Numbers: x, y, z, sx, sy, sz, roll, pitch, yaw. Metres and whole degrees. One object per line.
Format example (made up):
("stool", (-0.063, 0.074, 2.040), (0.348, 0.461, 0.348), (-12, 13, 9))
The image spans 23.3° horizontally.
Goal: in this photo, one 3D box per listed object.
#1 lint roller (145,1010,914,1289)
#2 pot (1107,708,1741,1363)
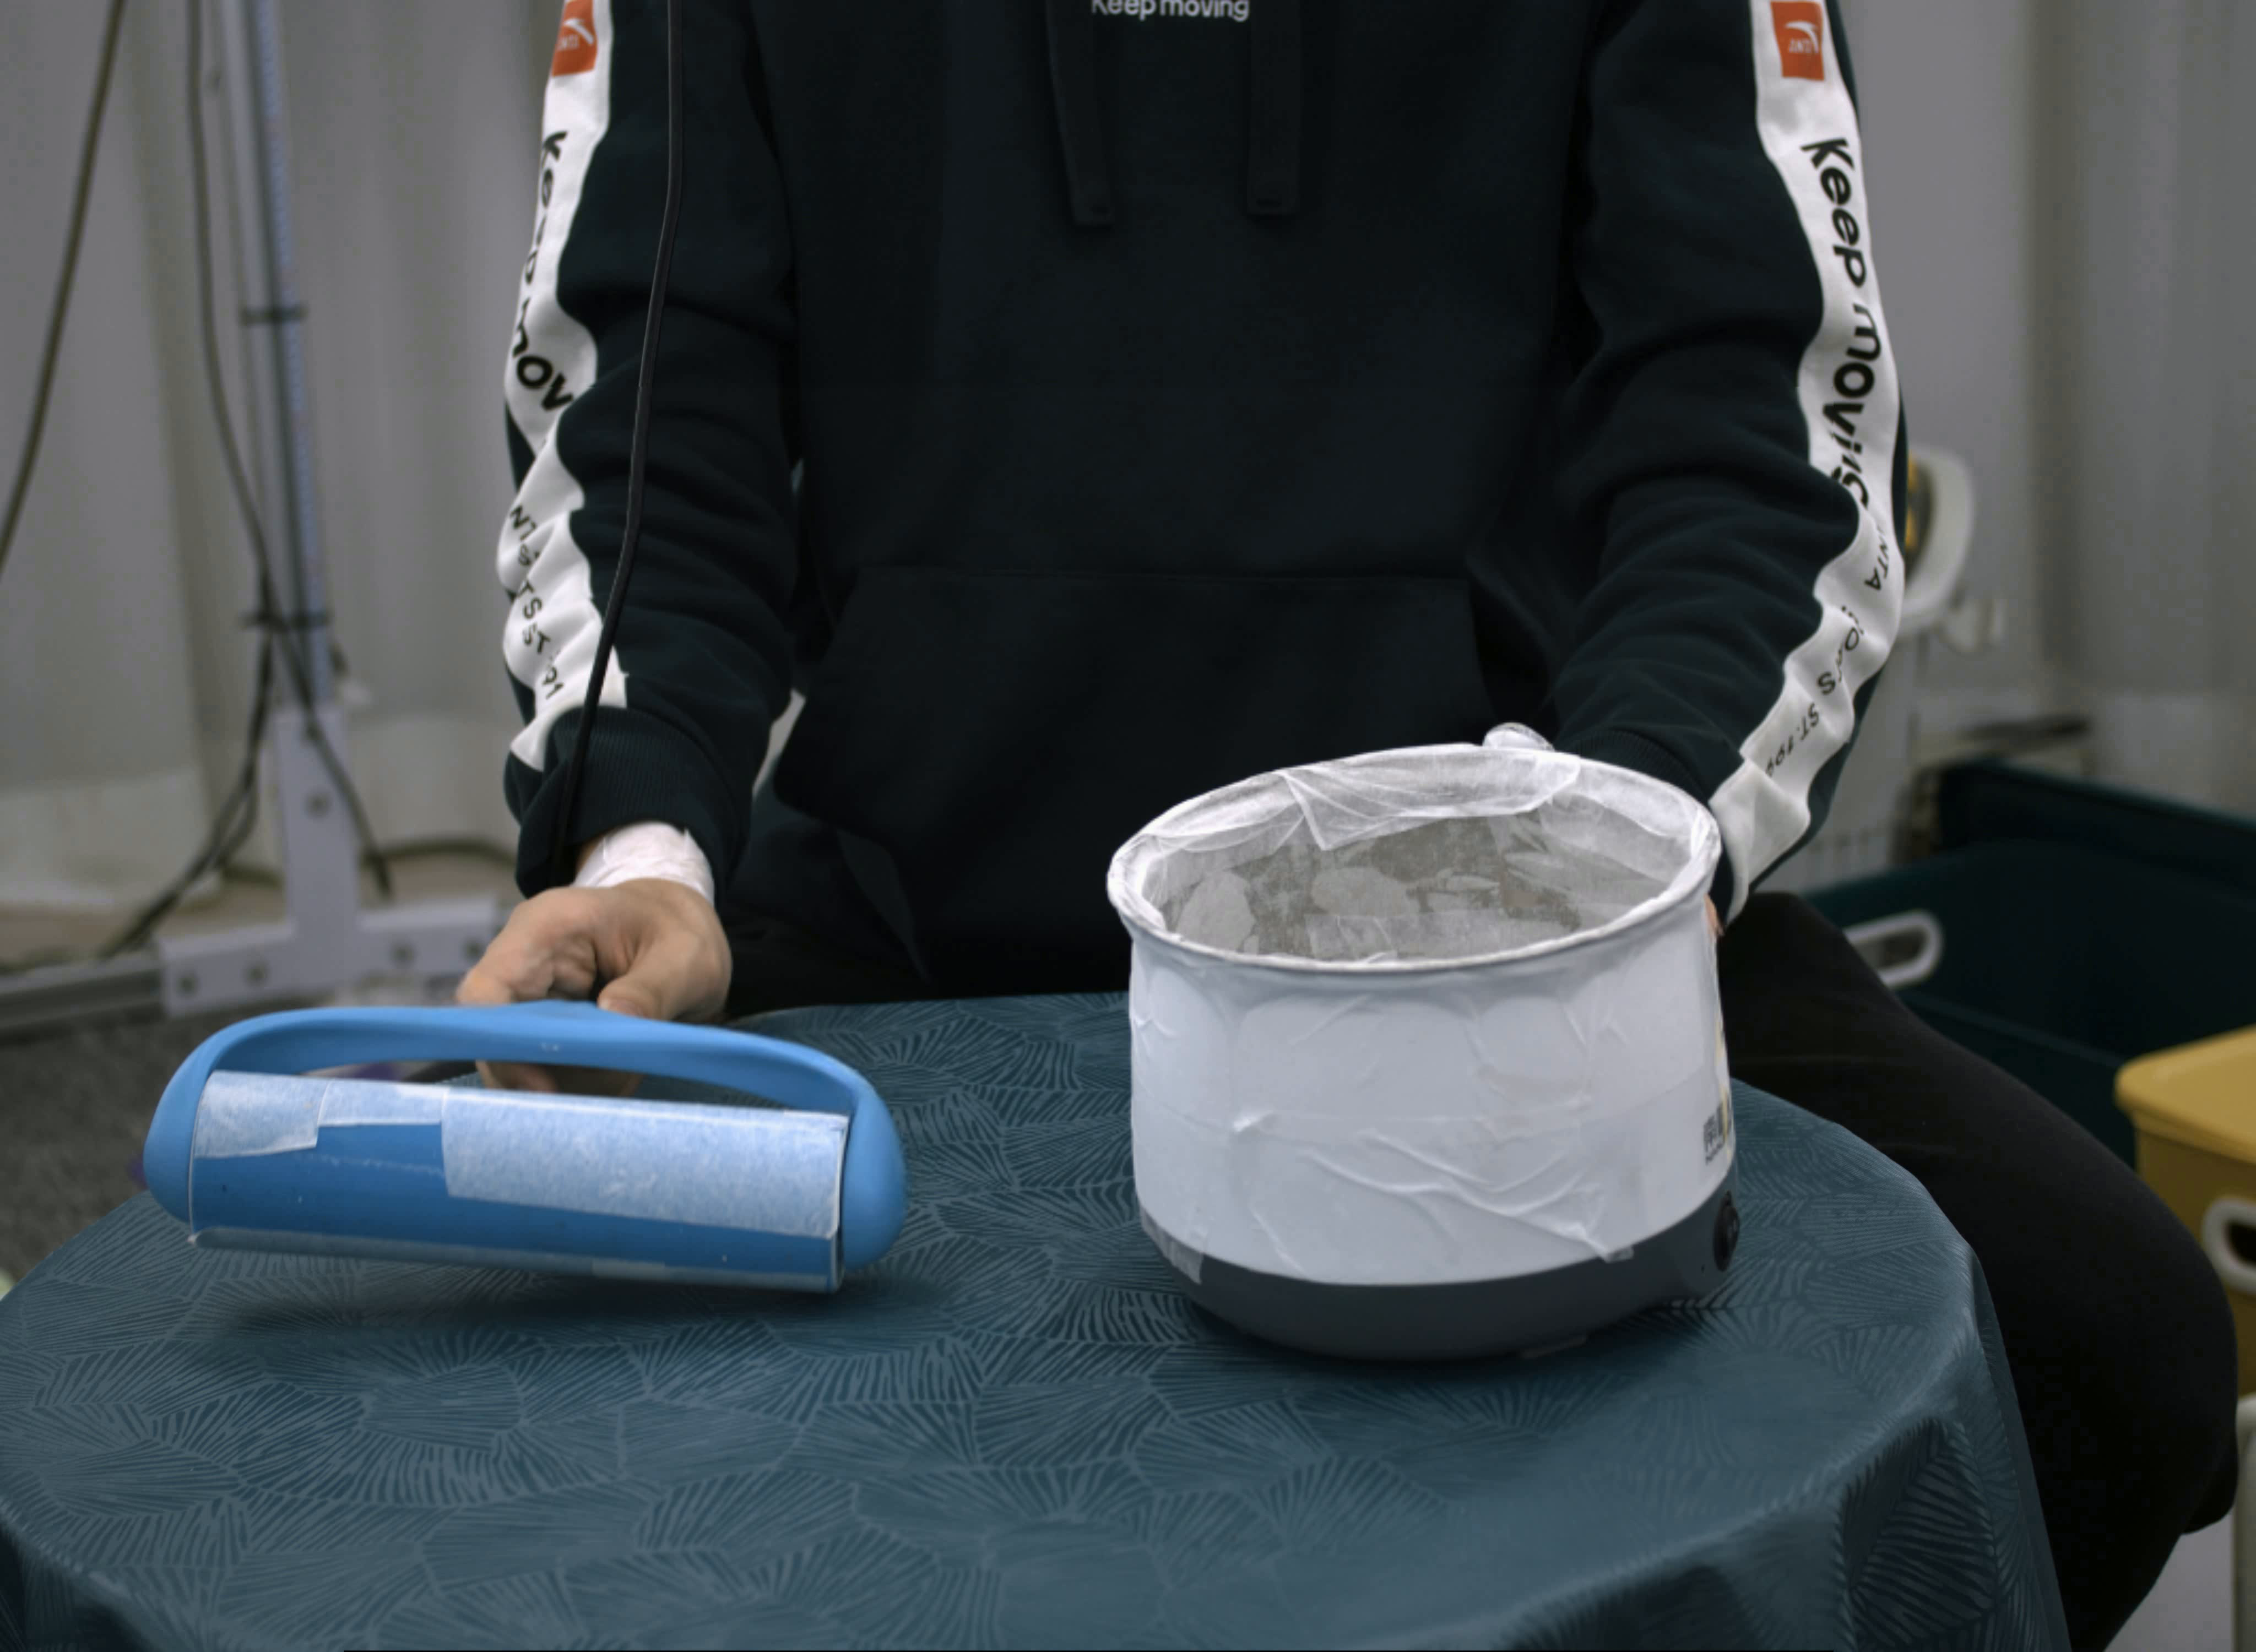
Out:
("lint roller", (-0.179, 0.087, 1.684), (0.228, 0.067, 0.182), (1, 18, -1))
("pot", (0.096, 0.055, 1.615), (0.179, 0.135, 0.235), (2, 23, 20))
